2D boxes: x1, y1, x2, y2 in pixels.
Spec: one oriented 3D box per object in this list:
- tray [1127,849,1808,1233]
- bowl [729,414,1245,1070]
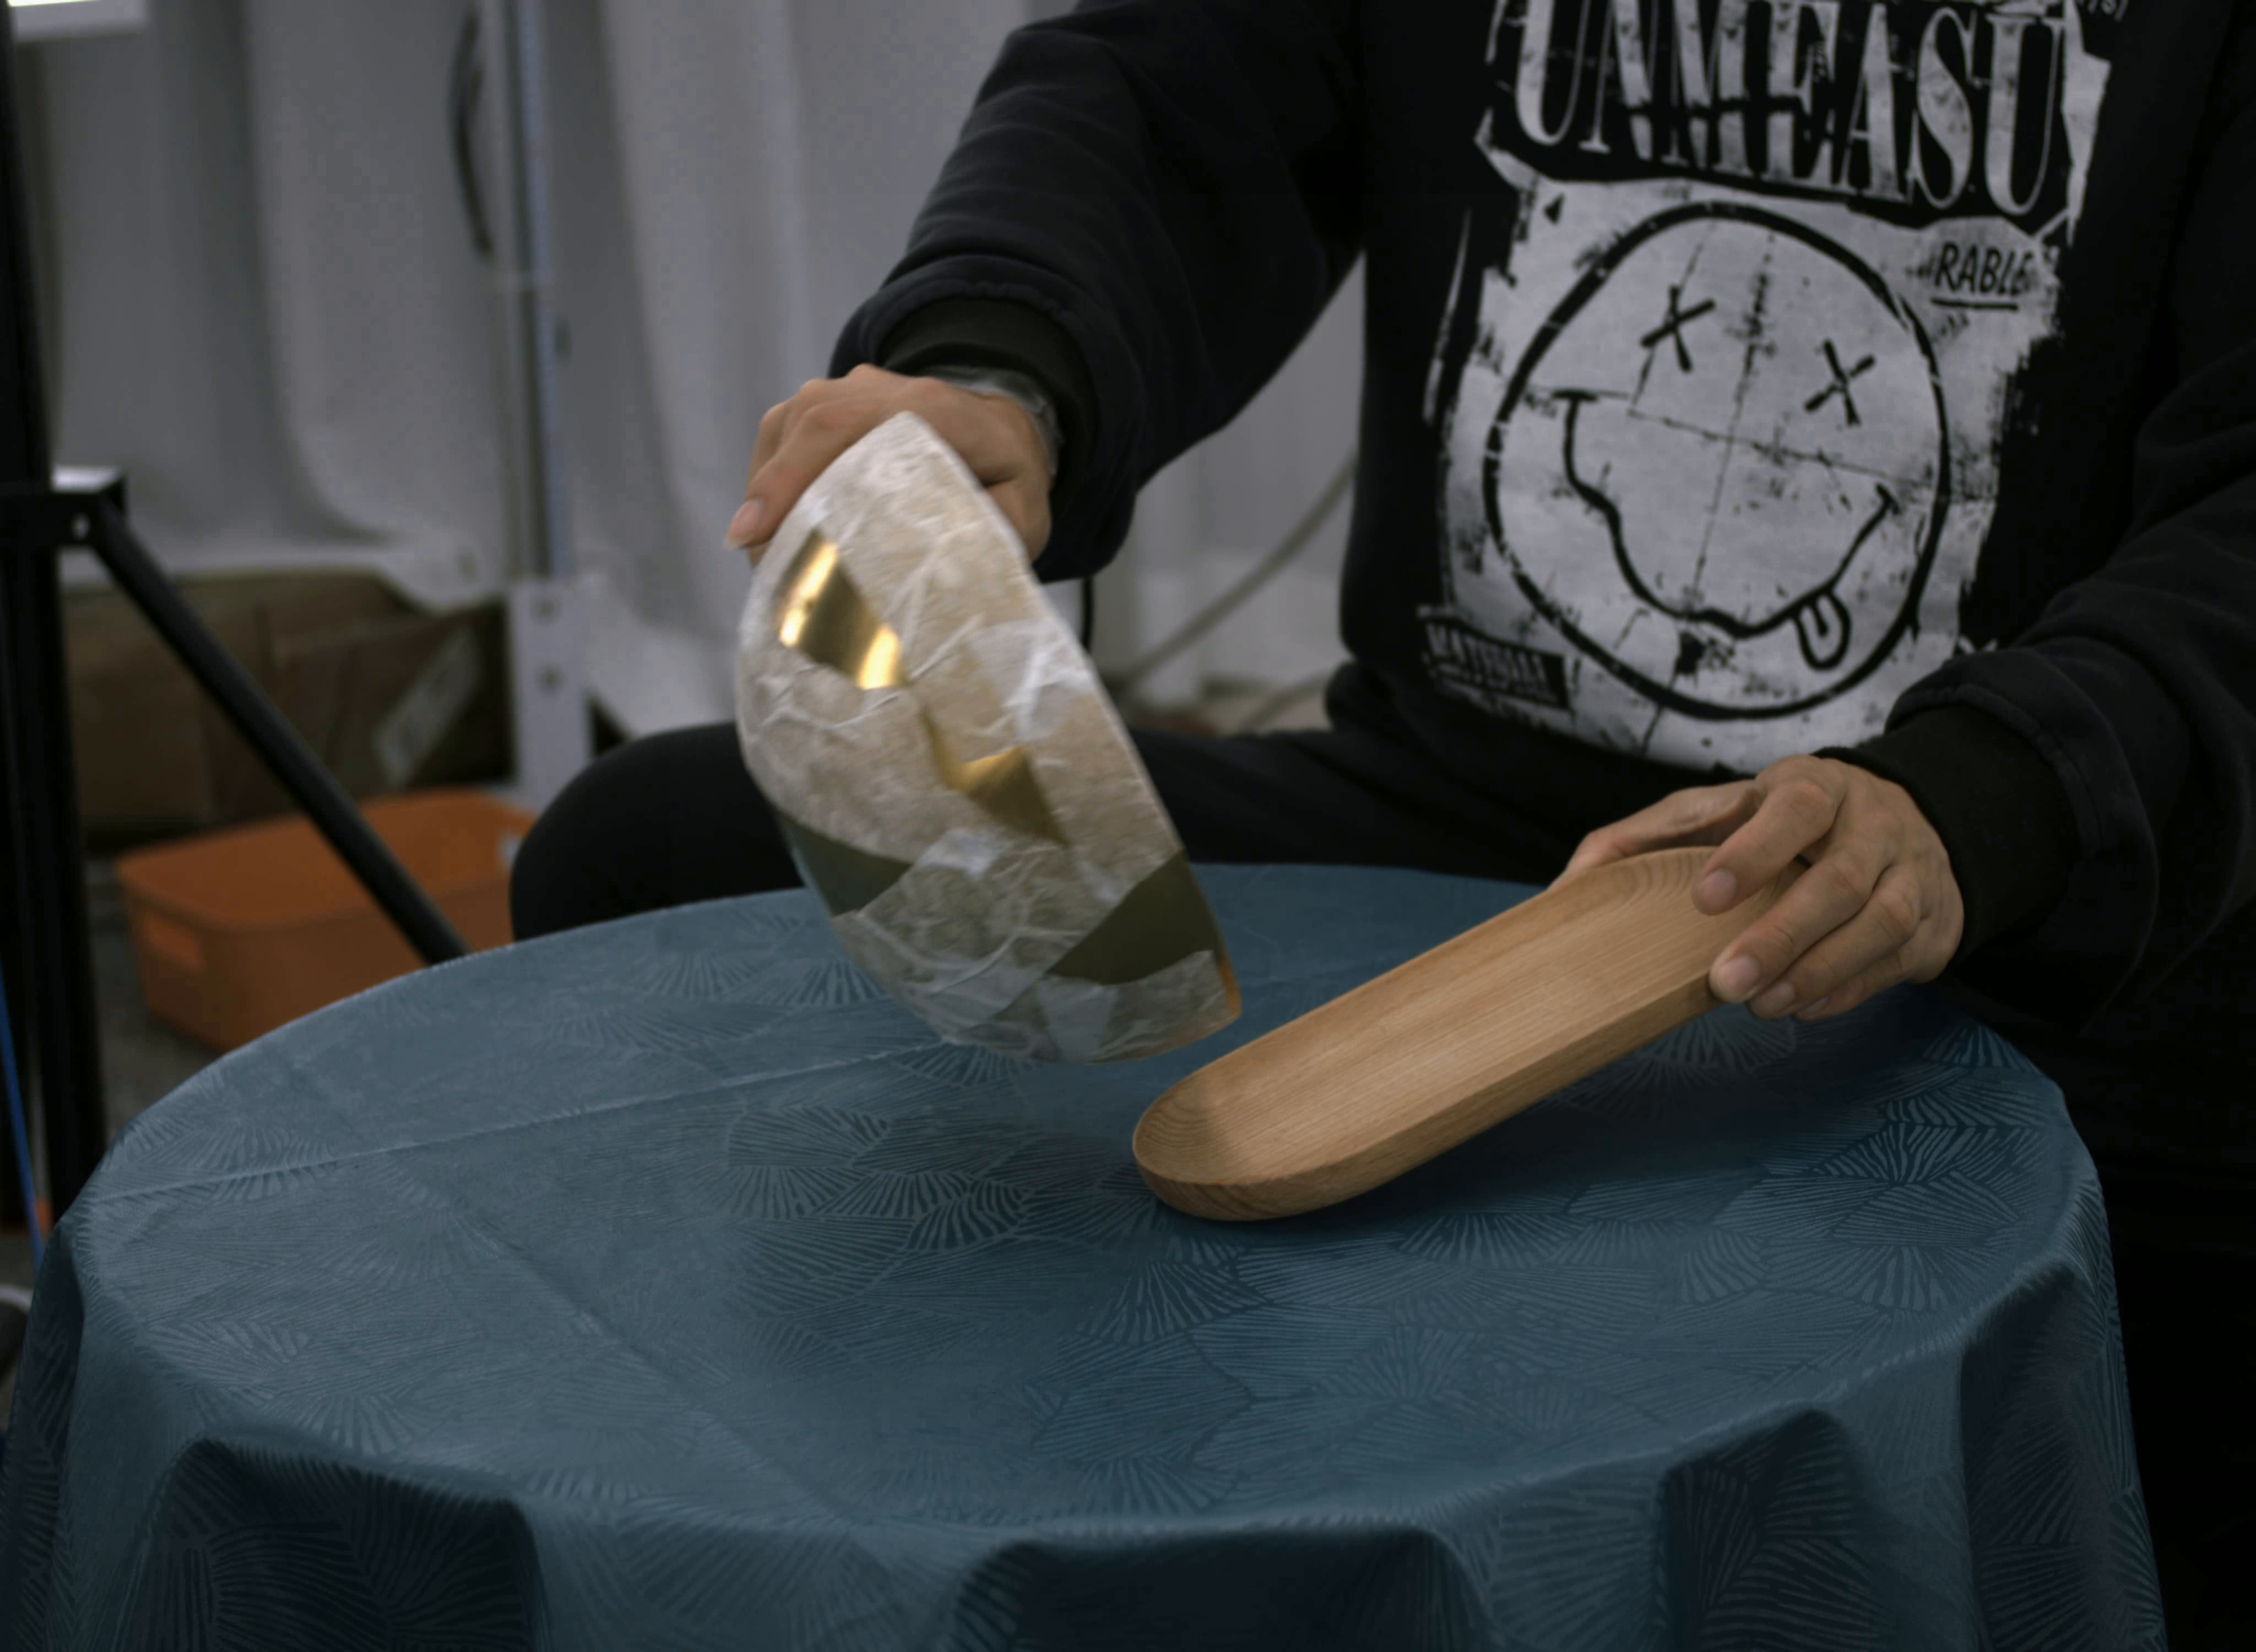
[{"bbox_3d":[0.103,0.063,1.576,0.228,0.020,0.104,-28,21,-22],"label":"tray"},{"bbox_3d":[-0.054,-0.006,1.535,0.094,0.213,0.218,-30,20,-6],"label":"bowl"}]
